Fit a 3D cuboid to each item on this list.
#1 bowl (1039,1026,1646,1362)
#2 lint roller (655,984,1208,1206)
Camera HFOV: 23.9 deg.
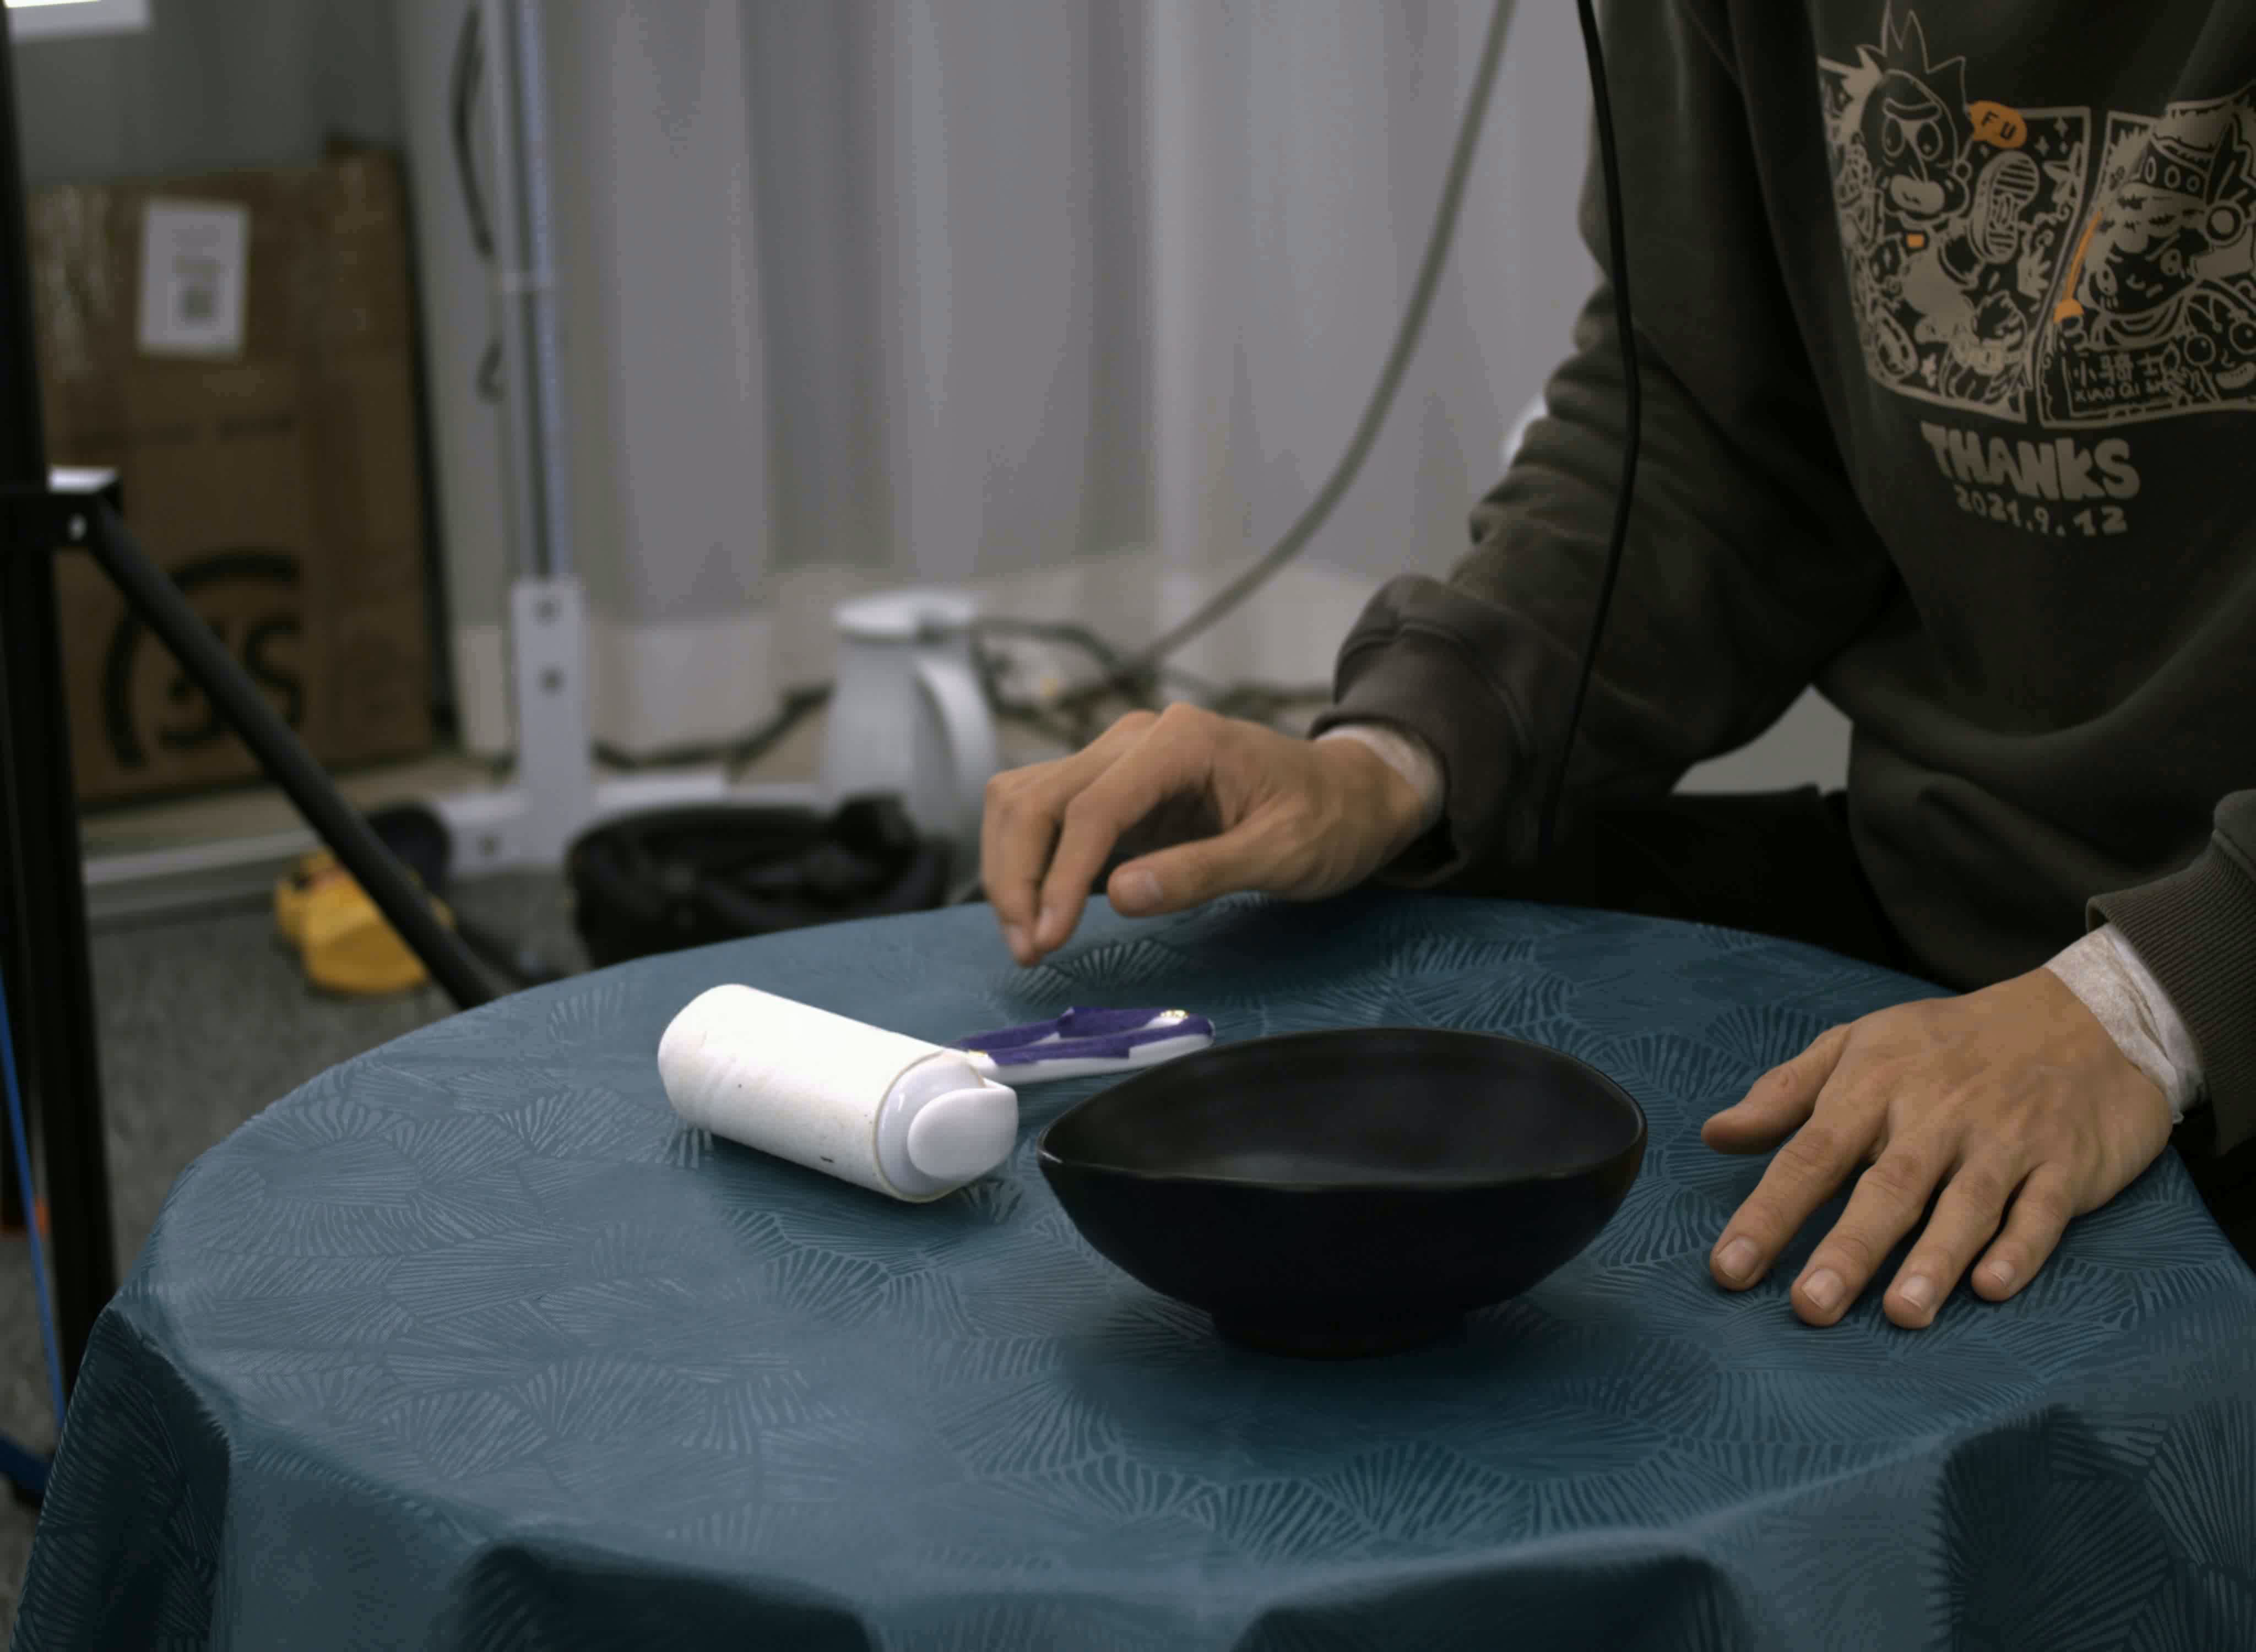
[{"bbox_3d":[0.058,0.105,1.446,0.172,0.067,0.136,1,15,18],"label":"bowl"},{"bbox_3d":[-0.042,0.065,1.634,0.177,0.050,0.136,-18,21,-36],"label":"lint roller"}]
